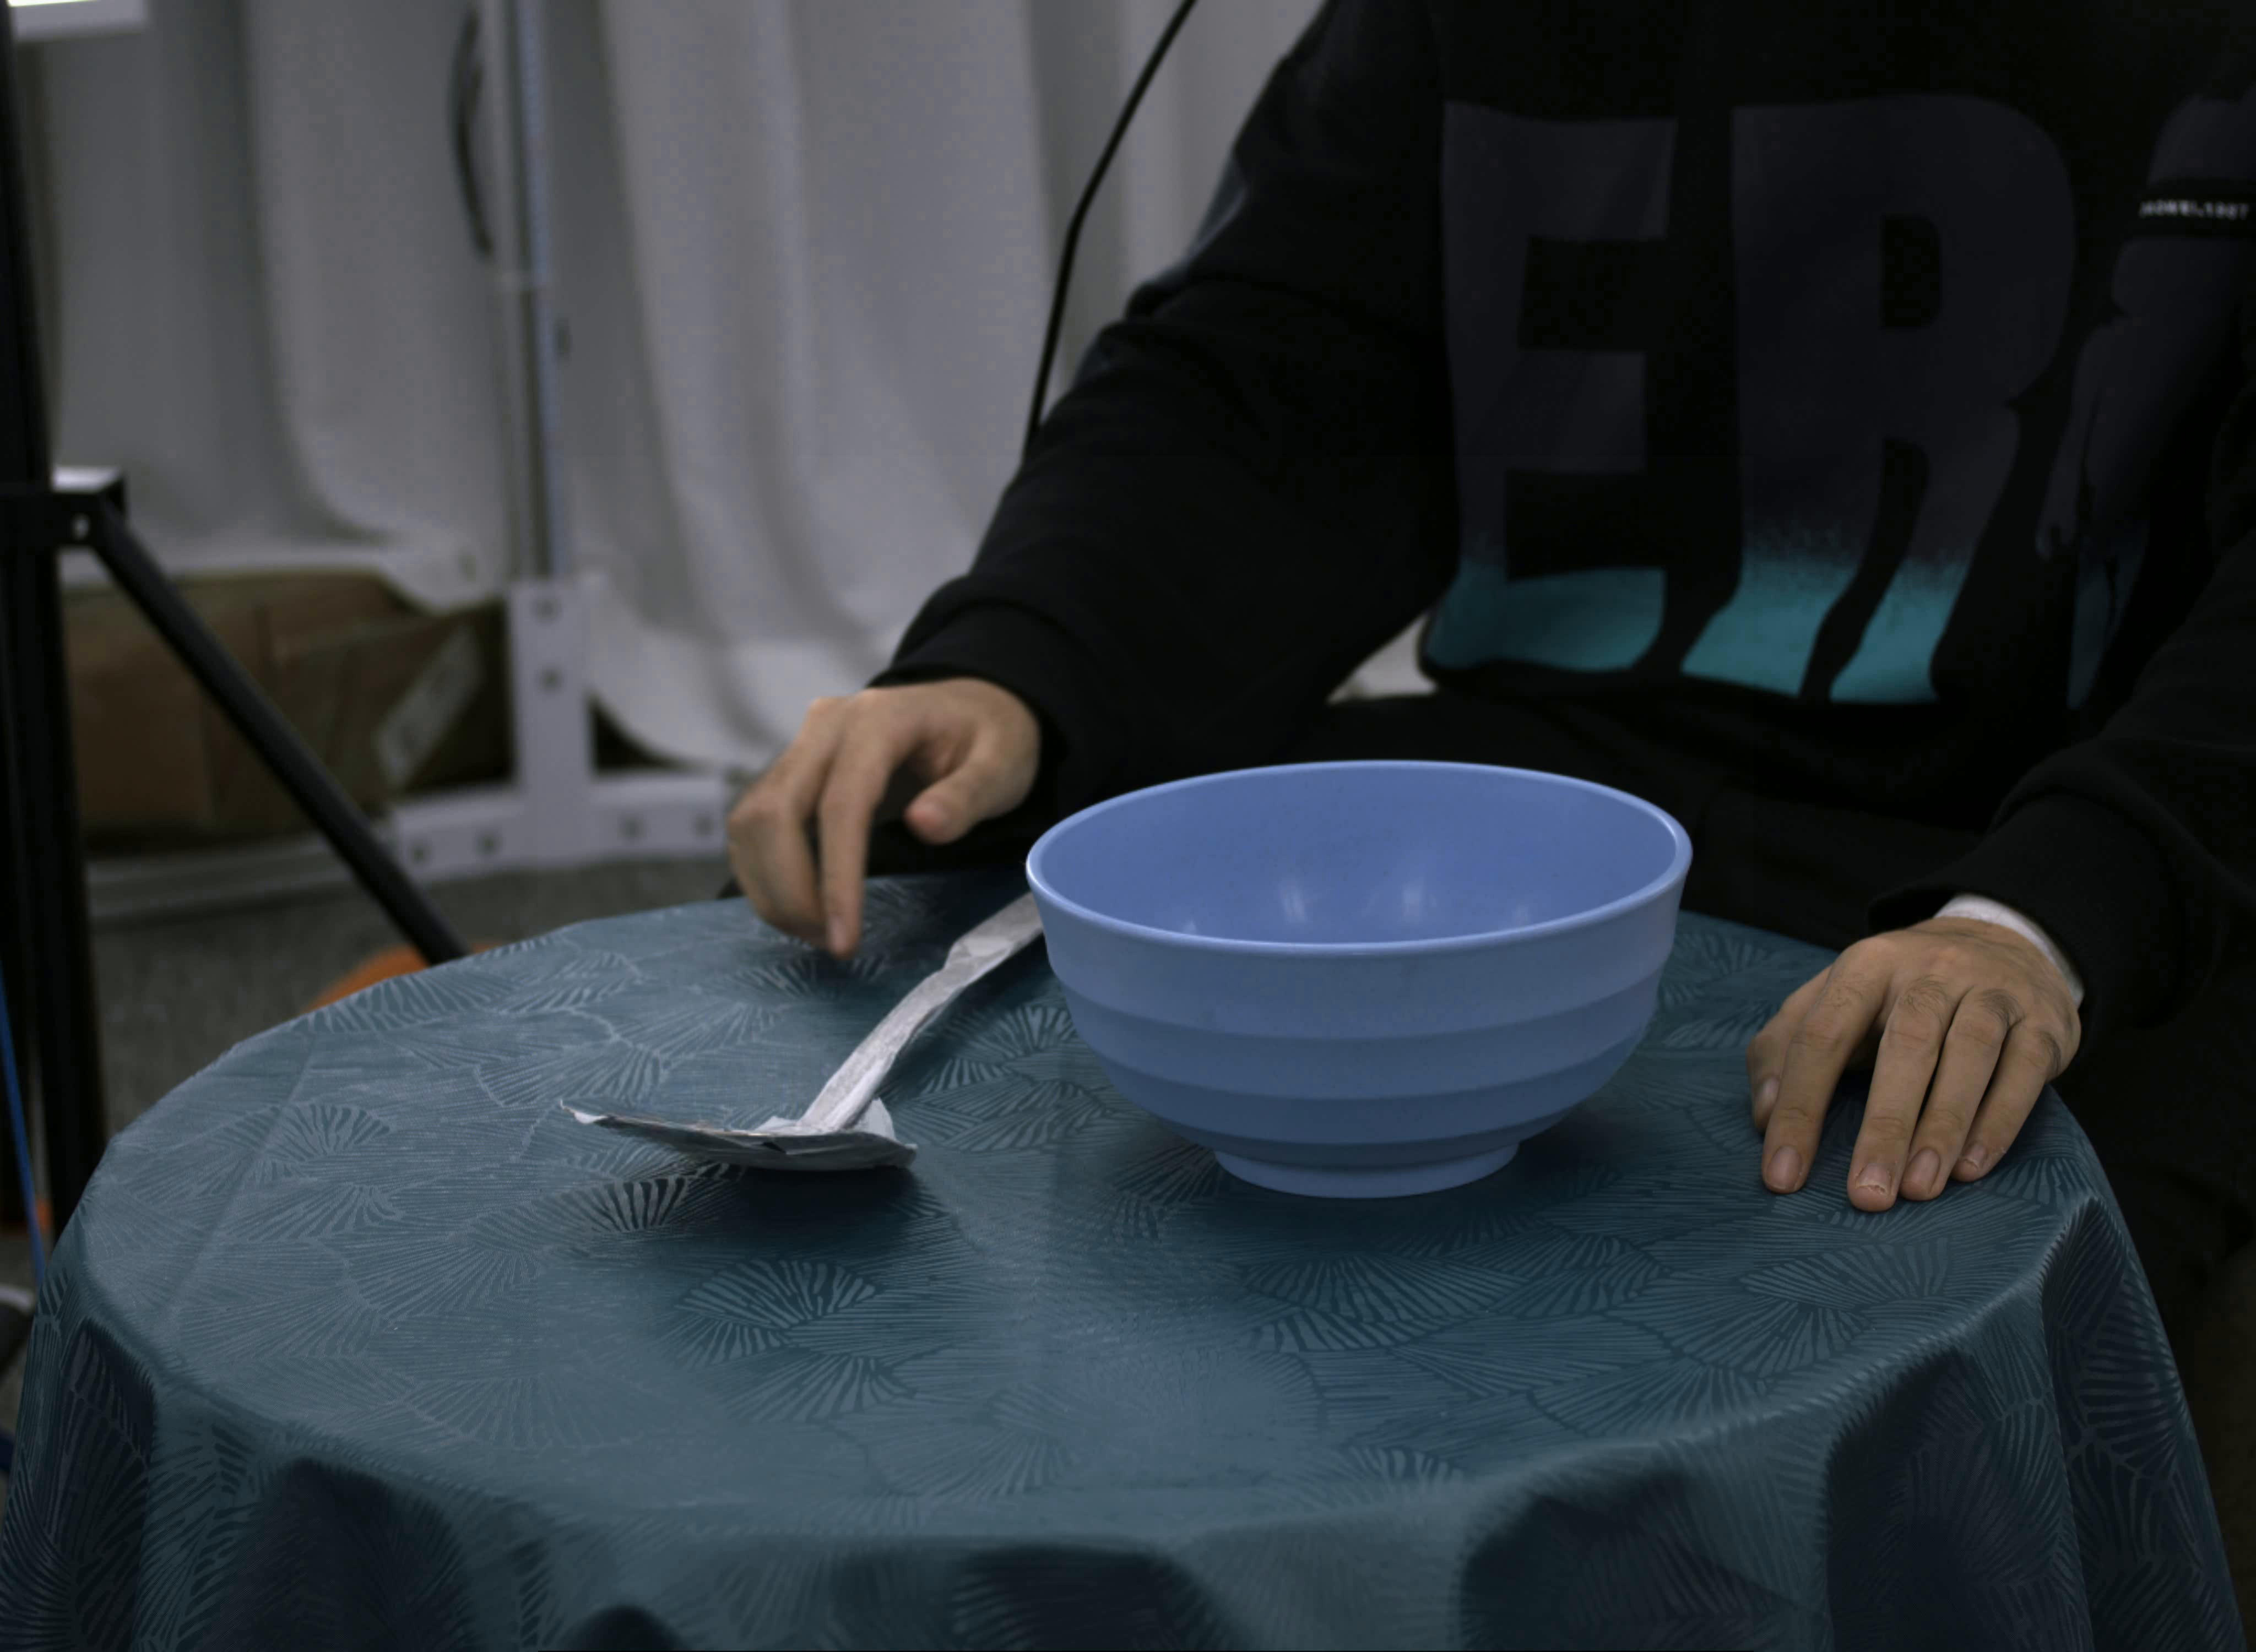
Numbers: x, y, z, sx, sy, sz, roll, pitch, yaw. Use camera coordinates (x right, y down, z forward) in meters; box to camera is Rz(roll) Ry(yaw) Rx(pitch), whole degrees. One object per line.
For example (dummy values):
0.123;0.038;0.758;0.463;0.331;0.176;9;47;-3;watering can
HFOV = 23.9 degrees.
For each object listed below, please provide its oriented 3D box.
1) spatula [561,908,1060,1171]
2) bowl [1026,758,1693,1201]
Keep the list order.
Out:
-0.063;0.056;1.684;0.100;0.045;0.360;1;16;21;spatula
0.070;0.051;1.573;0.195;0.095;0.197;-3;16;0;bowl
